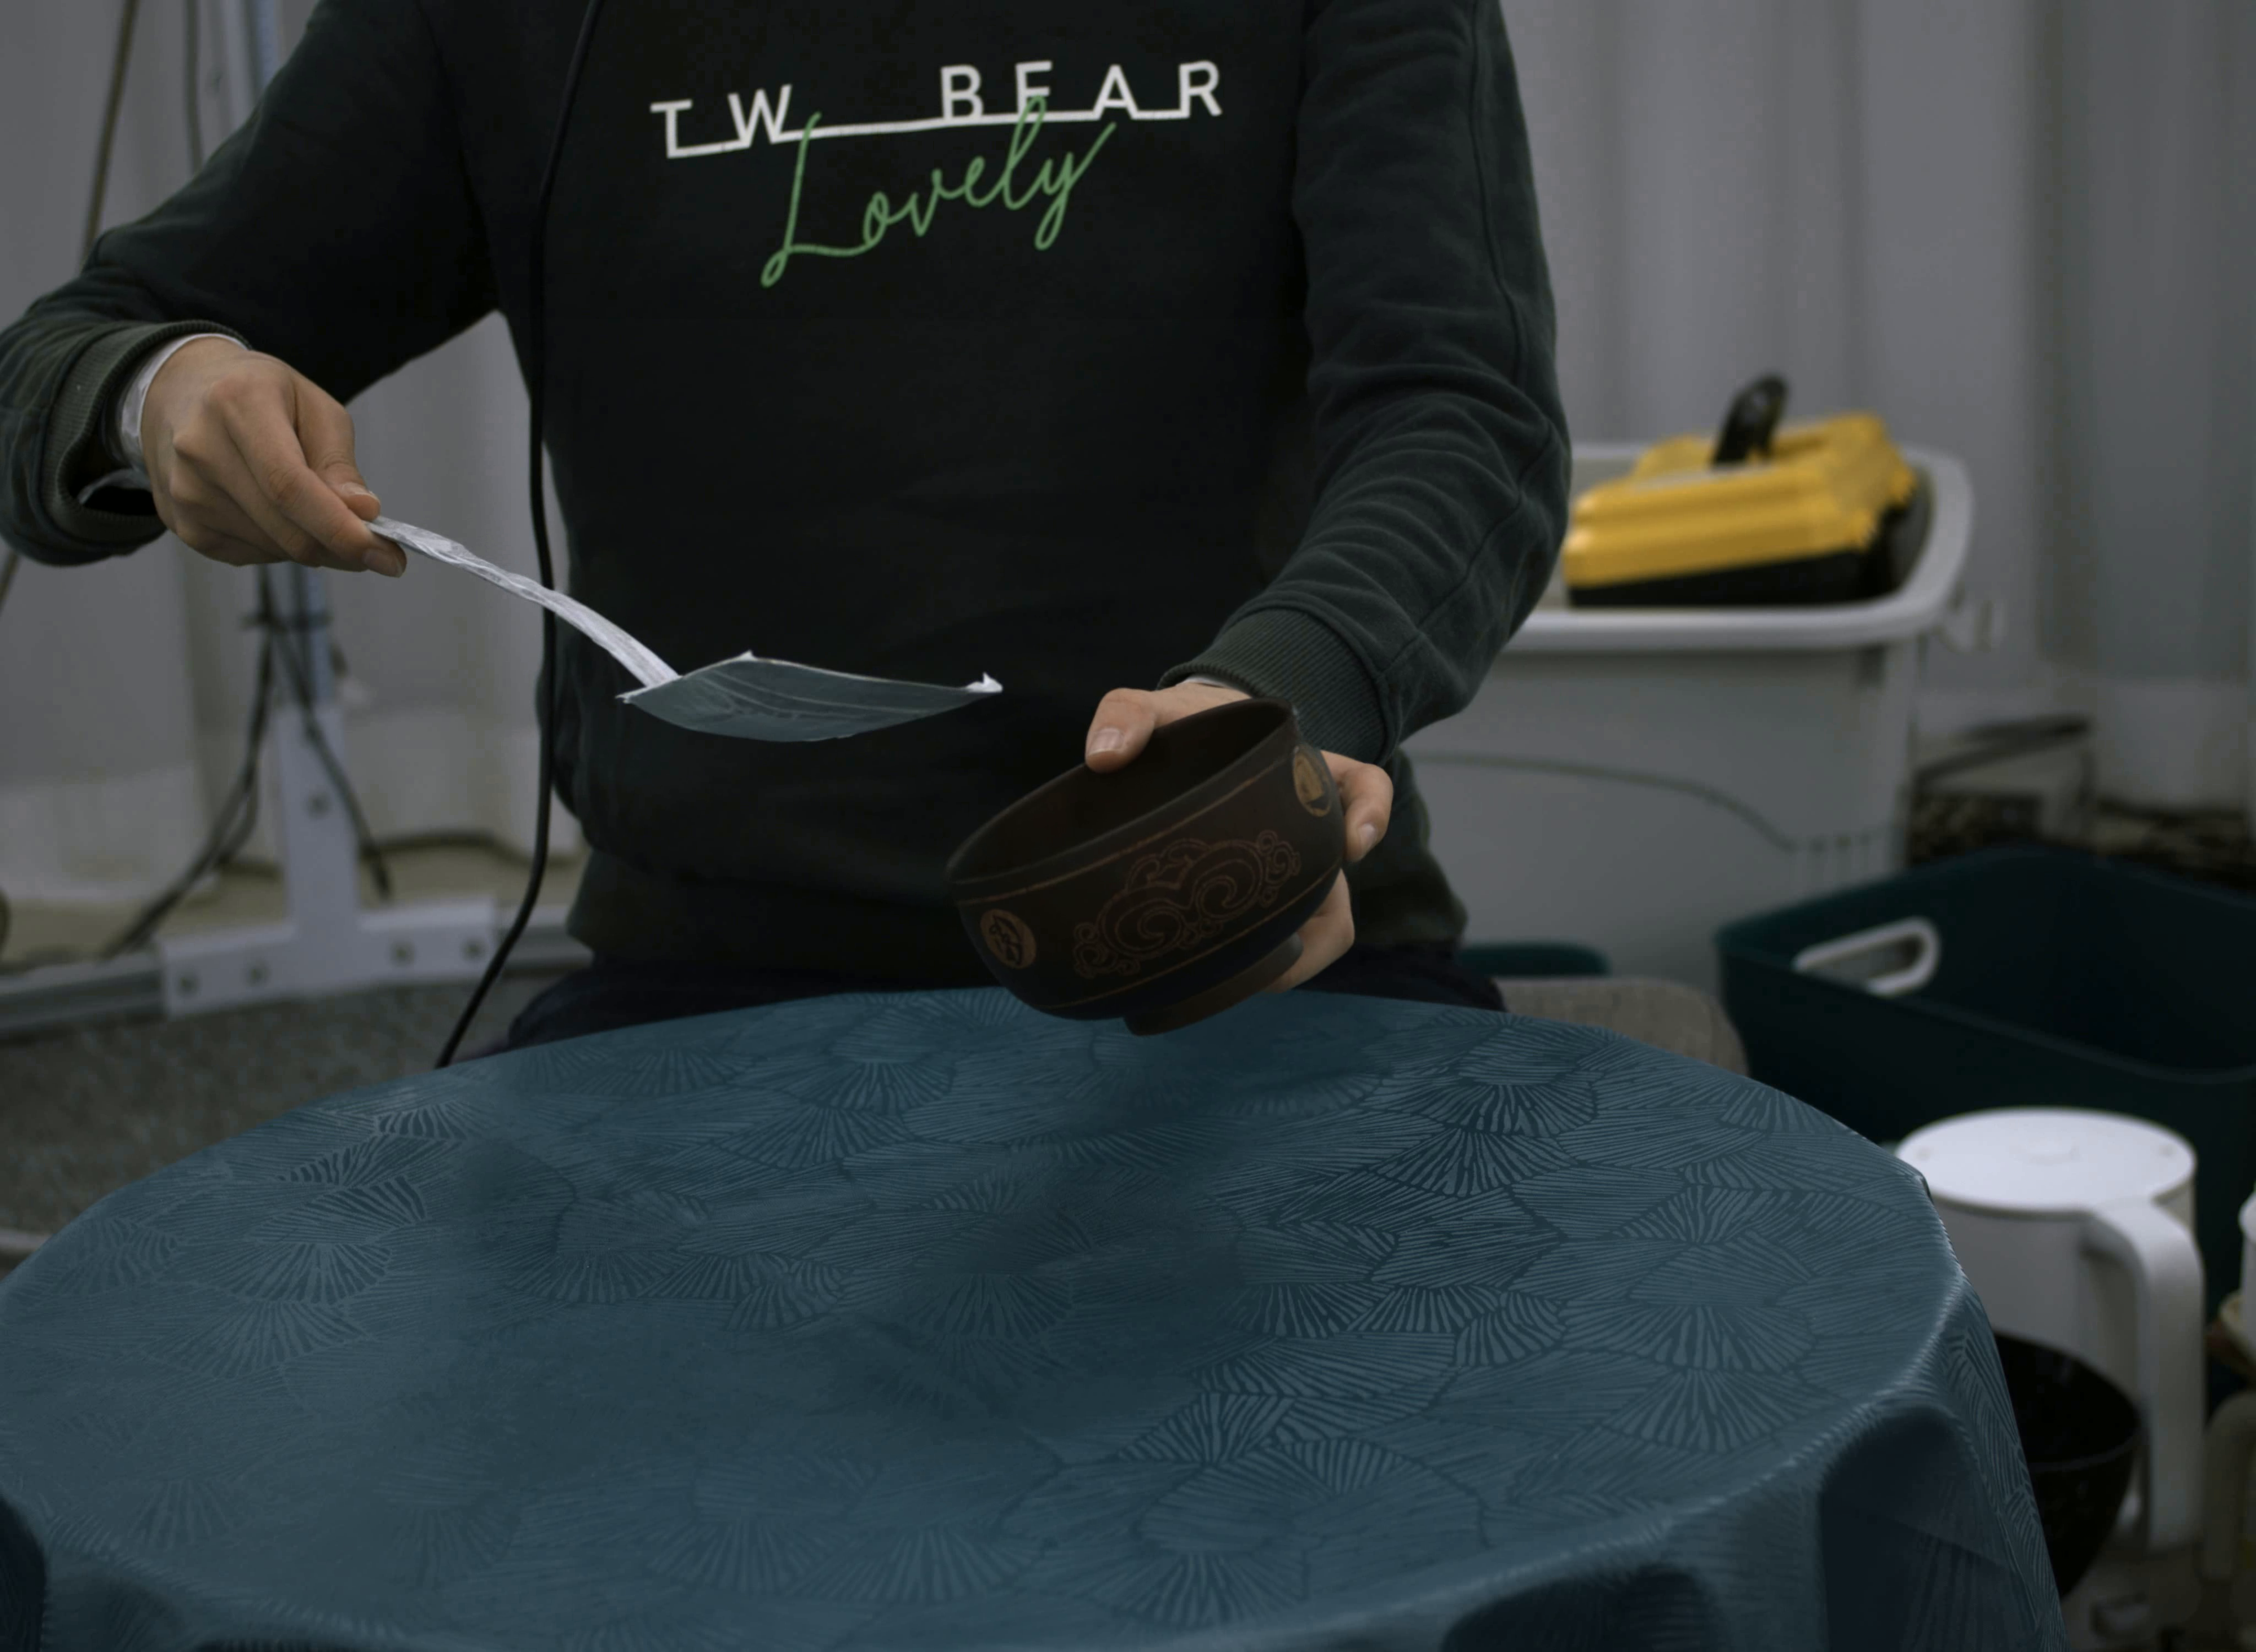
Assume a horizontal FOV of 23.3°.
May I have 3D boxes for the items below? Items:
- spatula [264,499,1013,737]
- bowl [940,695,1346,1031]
[{"bbox_3d":[-0.175,-0.074,1.690,0.098,0.044,0.368,3,14,-40],"label":"spatula"},{"bbox_3d":[0.011,0.017,1.607,0.118,0.069,0.118,-24,10,4],"label":"bowl"}]
